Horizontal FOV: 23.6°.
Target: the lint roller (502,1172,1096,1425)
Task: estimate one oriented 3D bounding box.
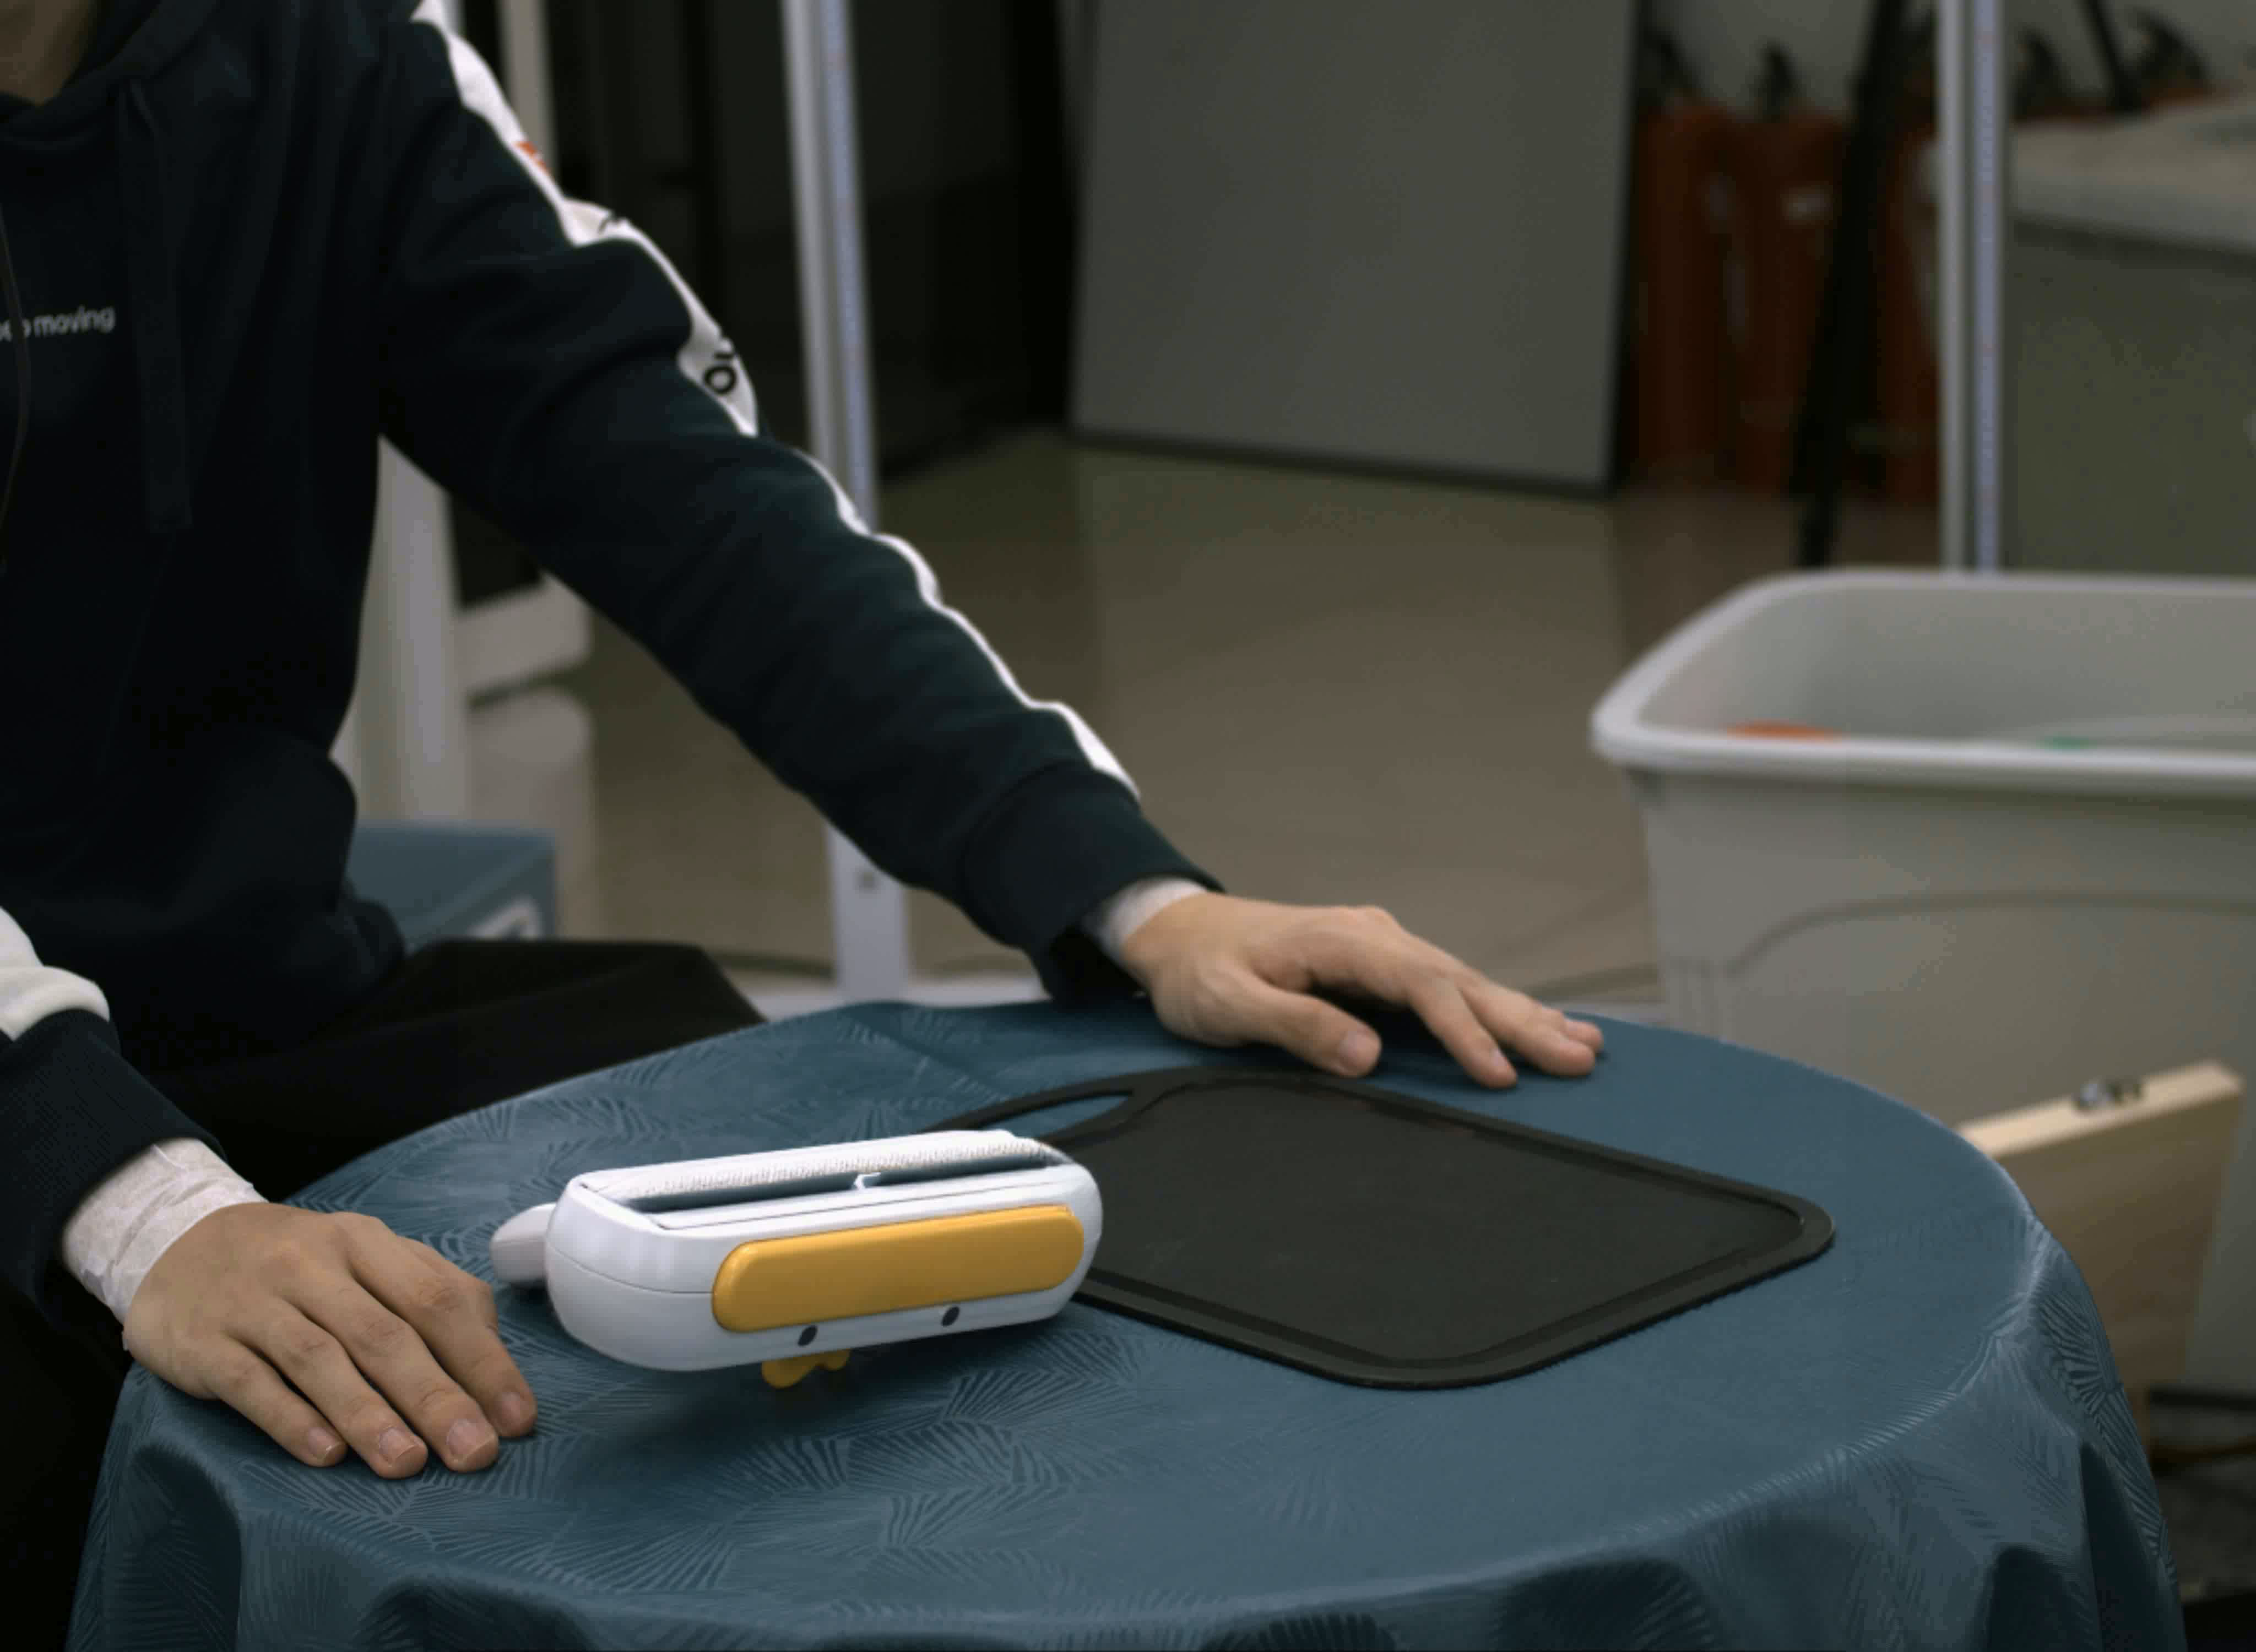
[{"bbox_3d":[-0.128,0.145,1.651,0.188,0.075,0.194,-6,-3,-37],"label":"lint roller"}]

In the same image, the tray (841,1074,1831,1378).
[{"bbox_3d":[0.055,0.123,1.736,0.206,0.010,0.329,-15,18,-39],"label":"tray"}]
